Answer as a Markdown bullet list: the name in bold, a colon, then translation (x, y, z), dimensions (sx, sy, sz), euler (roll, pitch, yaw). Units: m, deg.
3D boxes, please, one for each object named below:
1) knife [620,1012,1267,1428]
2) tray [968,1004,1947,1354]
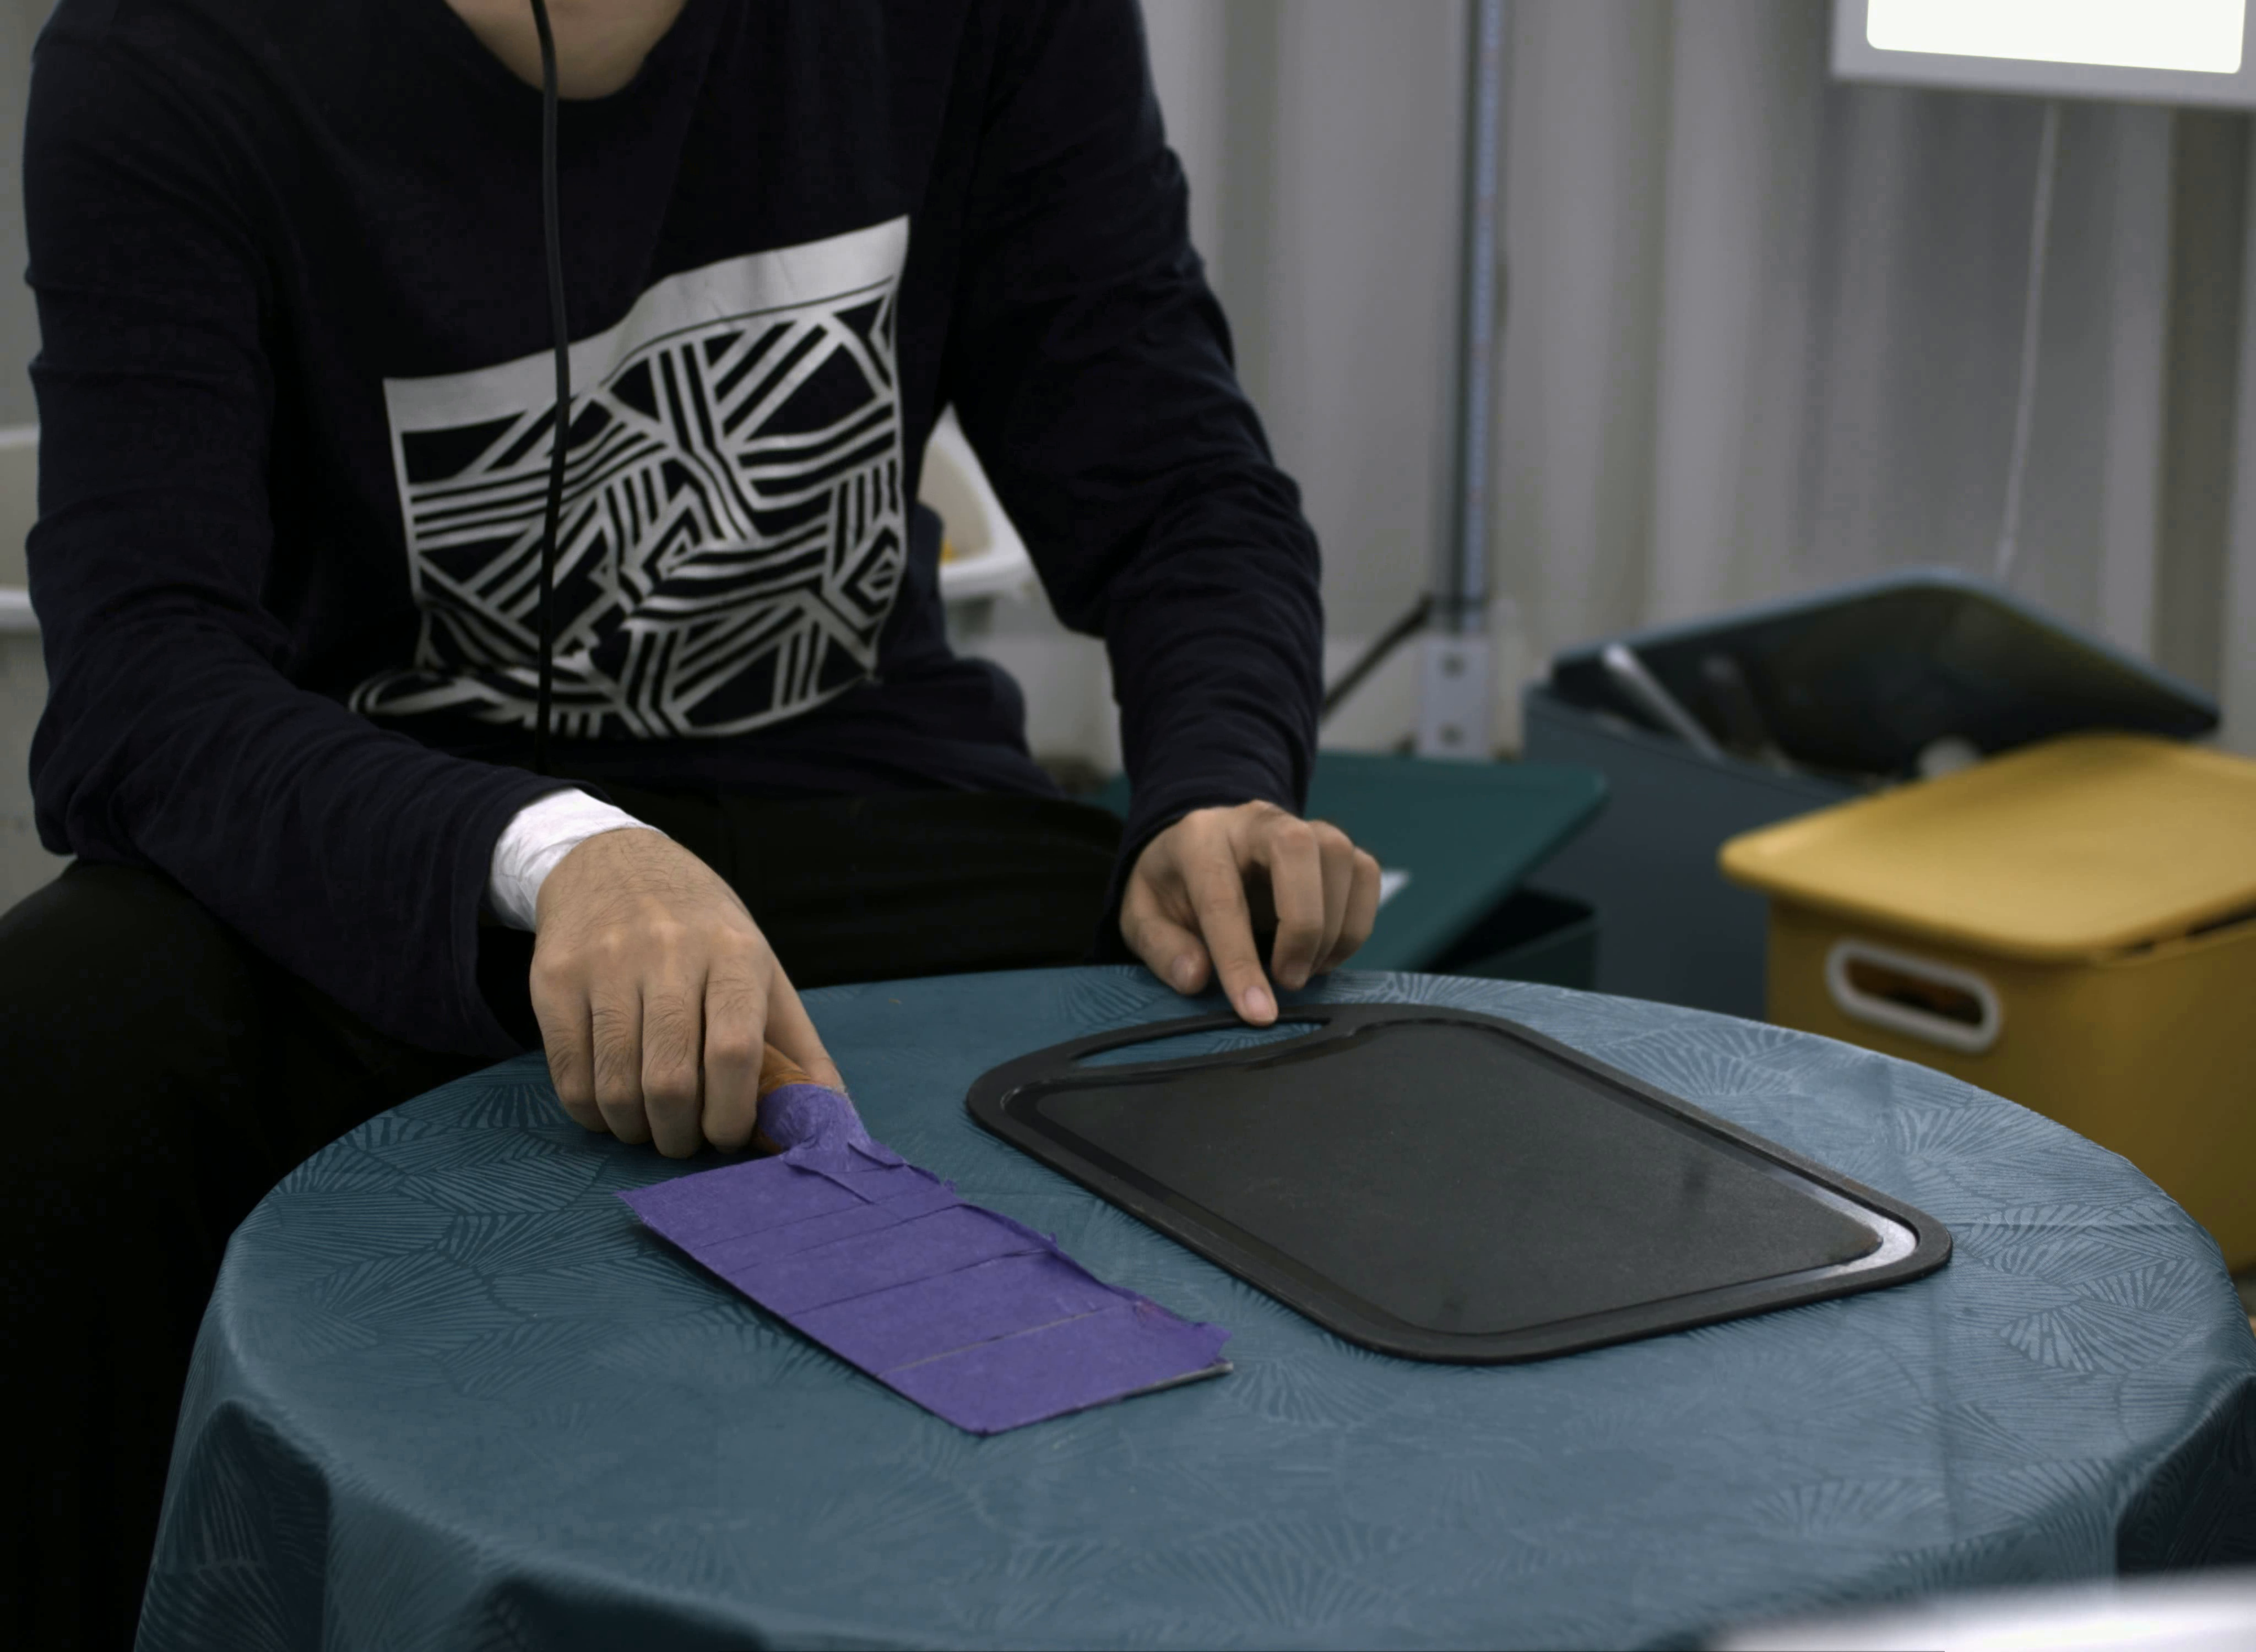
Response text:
- **knife**: translation (-0.089, 0.113, 1.568), dimensions (0.104, 0.032, 0.311), euler (-10, 19, -34)
- **tray**: translation (0.092, 0.103, 1.650), dimensions (0.212, 0.010, 0.321), euler (-8, 17, -29)
